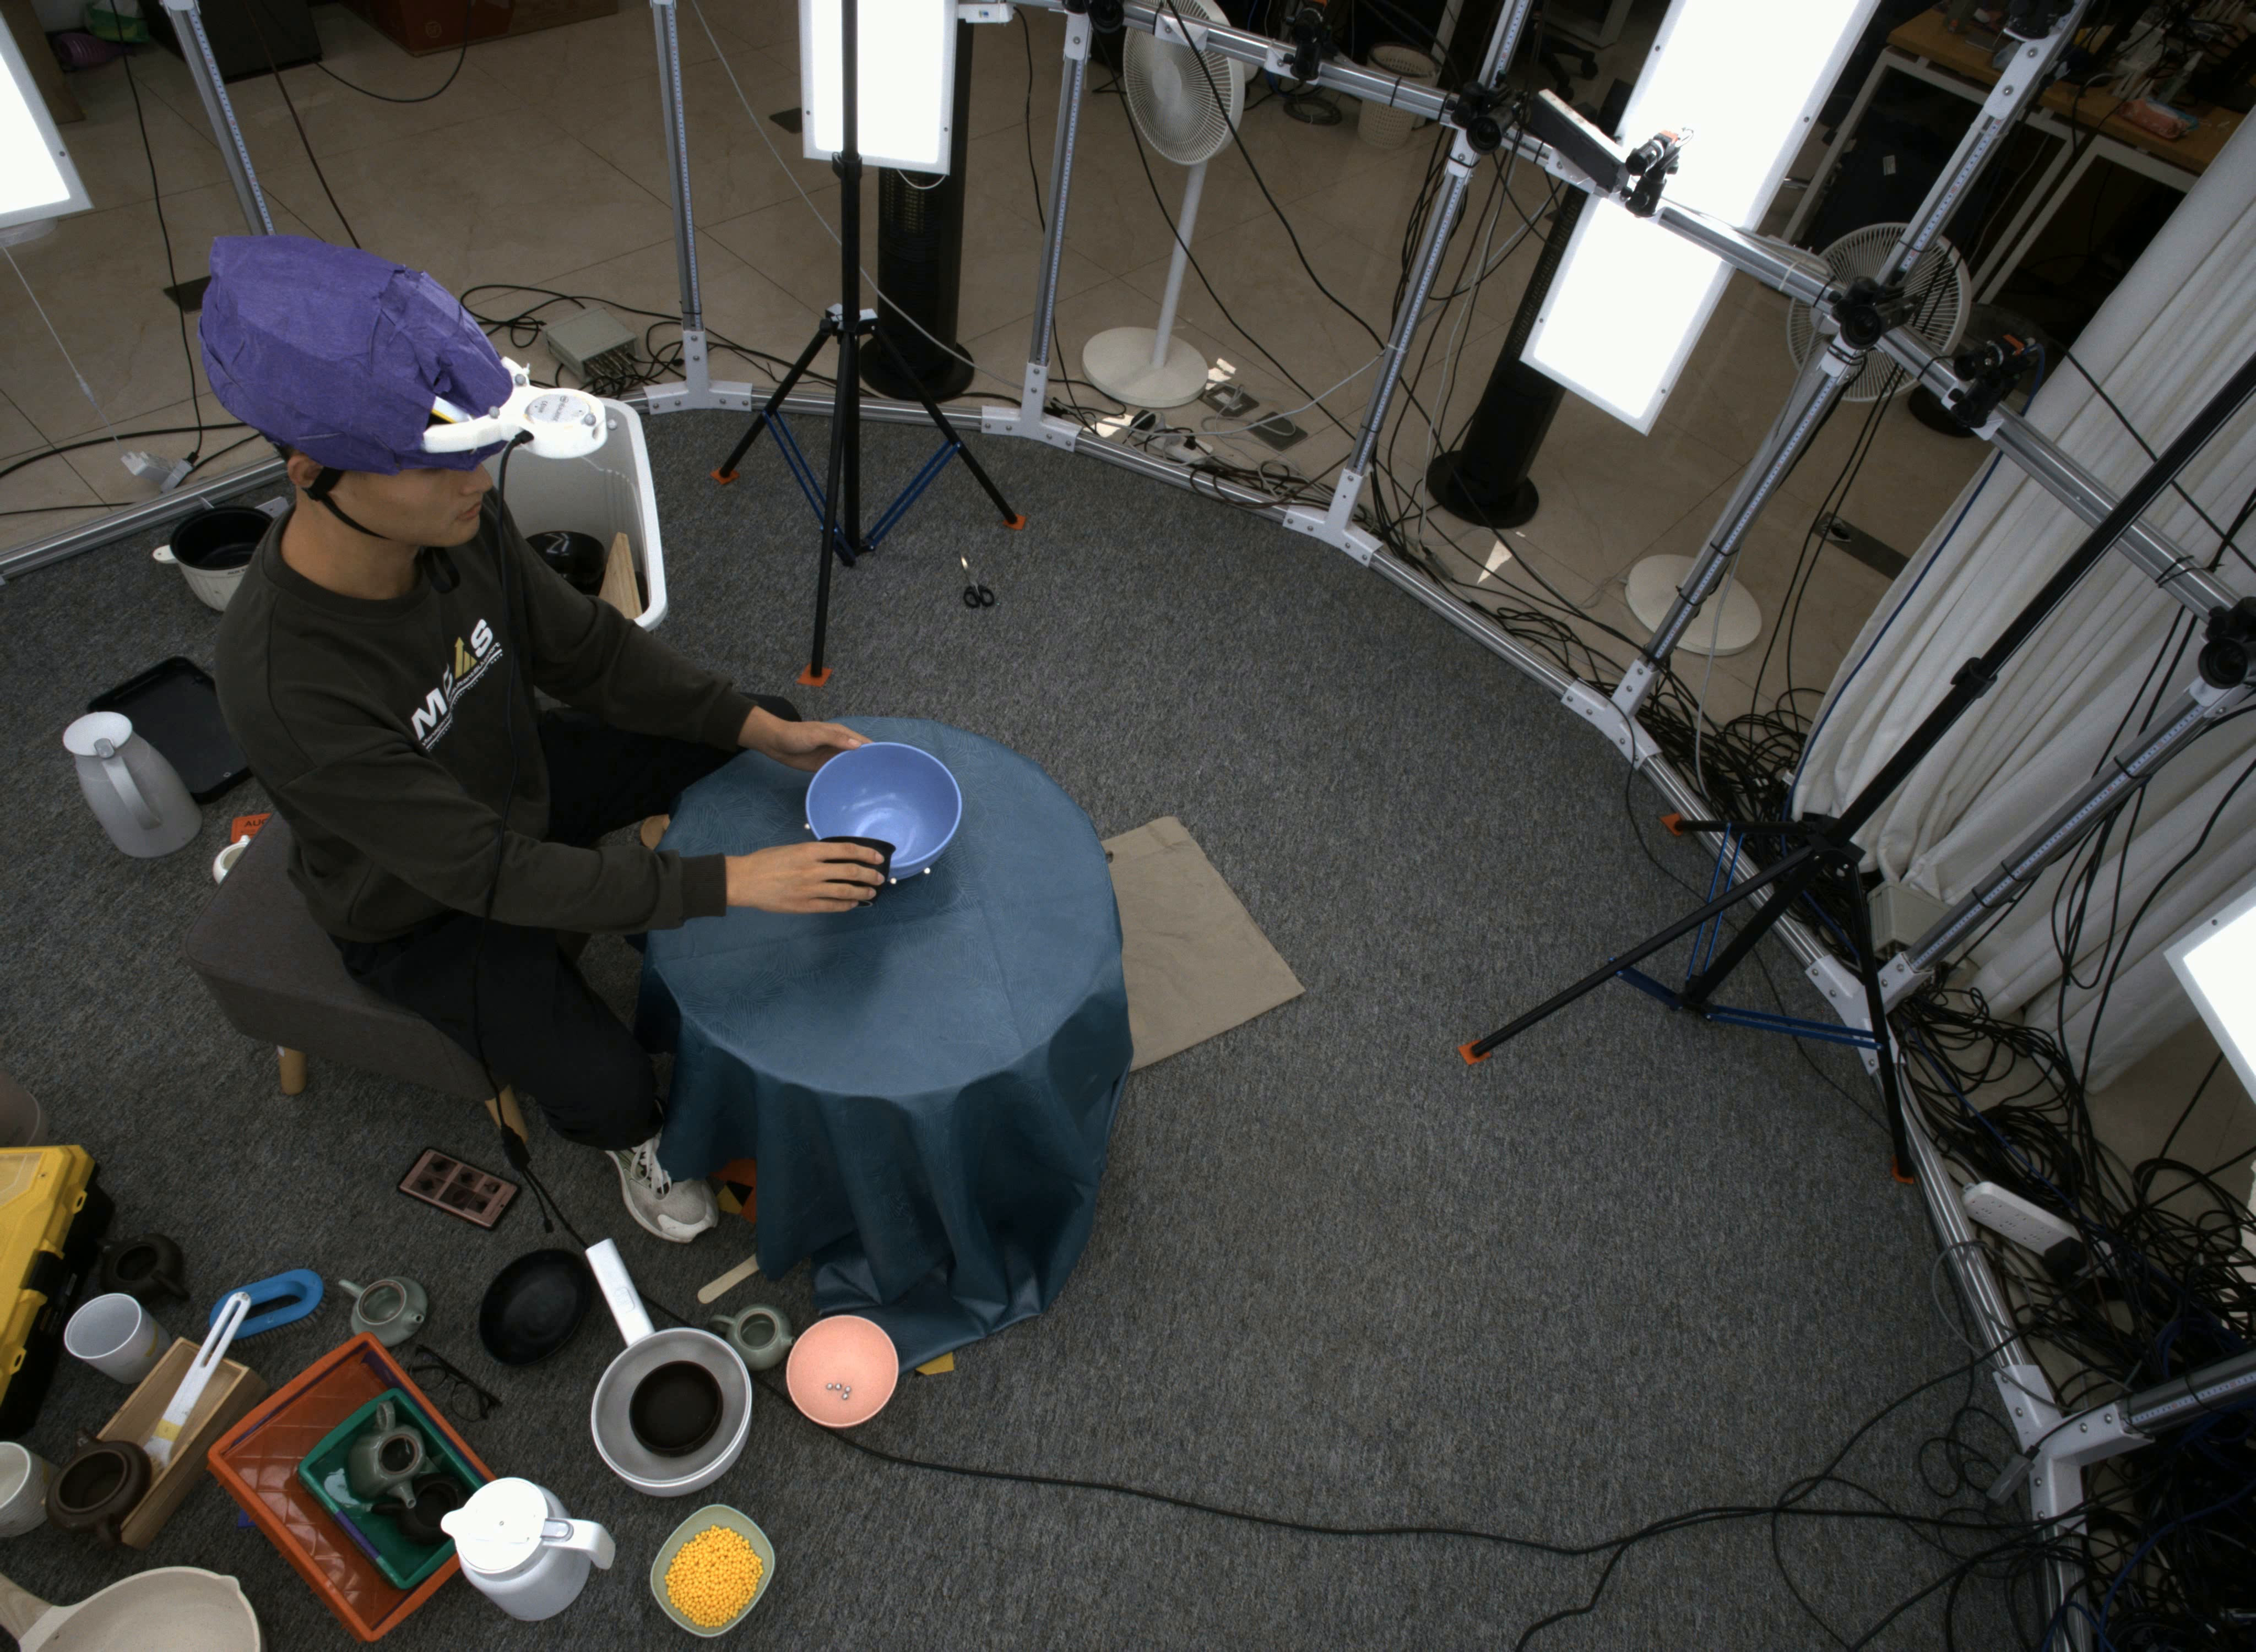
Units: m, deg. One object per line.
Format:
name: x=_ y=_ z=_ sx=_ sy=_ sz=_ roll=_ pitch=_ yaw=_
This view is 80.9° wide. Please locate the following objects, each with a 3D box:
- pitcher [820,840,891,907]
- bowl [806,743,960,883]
pitcher: x=-0.329 y=0.057 z=1.565 sx=0.083 sy=0.097 sz=0.071 roll=1 pitch=76 yaw=-1
bowl: x=-0.317 y=-0.003 z=1.700 sx=0.195 sy=0.097 sz=0.193 roll=5 pitch=56 yaw=-6
